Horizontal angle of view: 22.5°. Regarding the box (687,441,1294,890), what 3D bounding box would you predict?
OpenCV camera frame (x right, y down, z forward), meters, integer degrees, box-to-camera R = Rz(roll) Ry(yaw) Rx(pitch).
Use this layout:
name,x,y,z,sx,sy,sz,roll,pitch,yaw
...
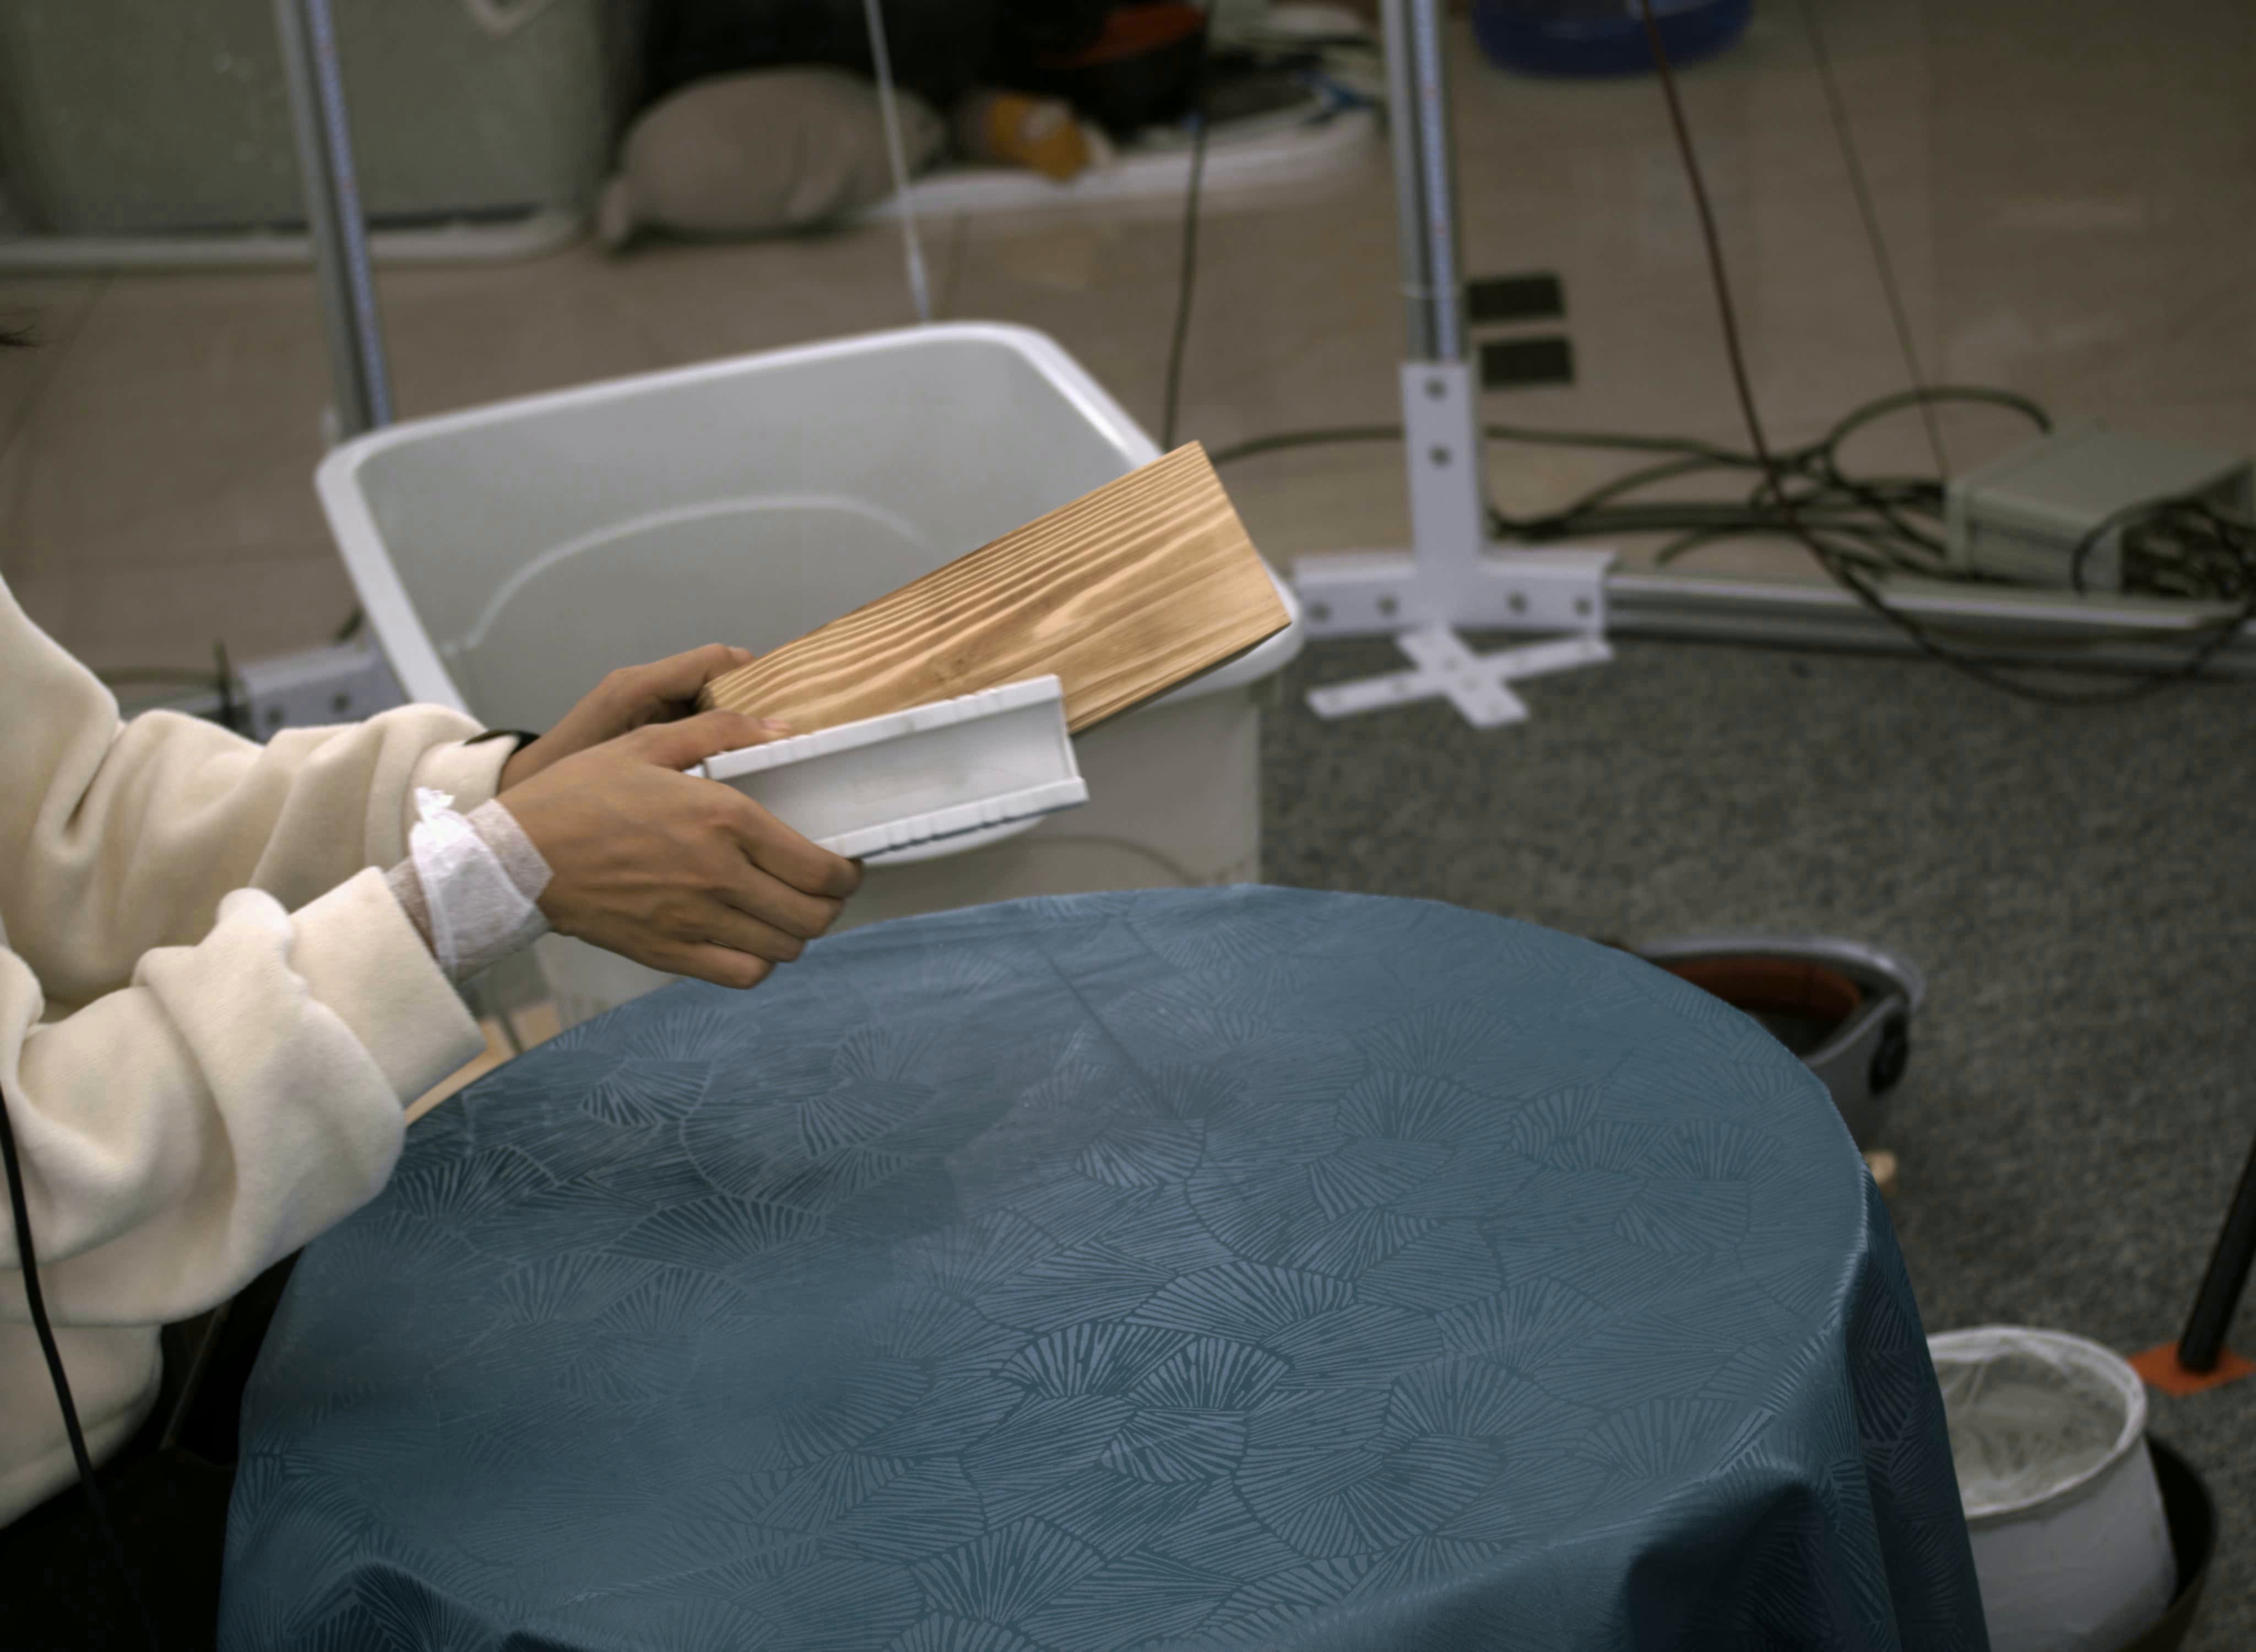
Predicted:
name,x,y,z,sx,sy,sz,roll,pitch,yaw
box,-0.055,-0.060,2.175,0.210,0.080,0.108,-26,0,-11

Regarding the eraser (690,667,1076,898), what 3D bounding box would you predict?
name,x,y,z,sx,sy,sz,roll,pitch,yaw
eraser,-0.091,-0.016,2.087,0.134,0.050,0.046,-17,2,-7
